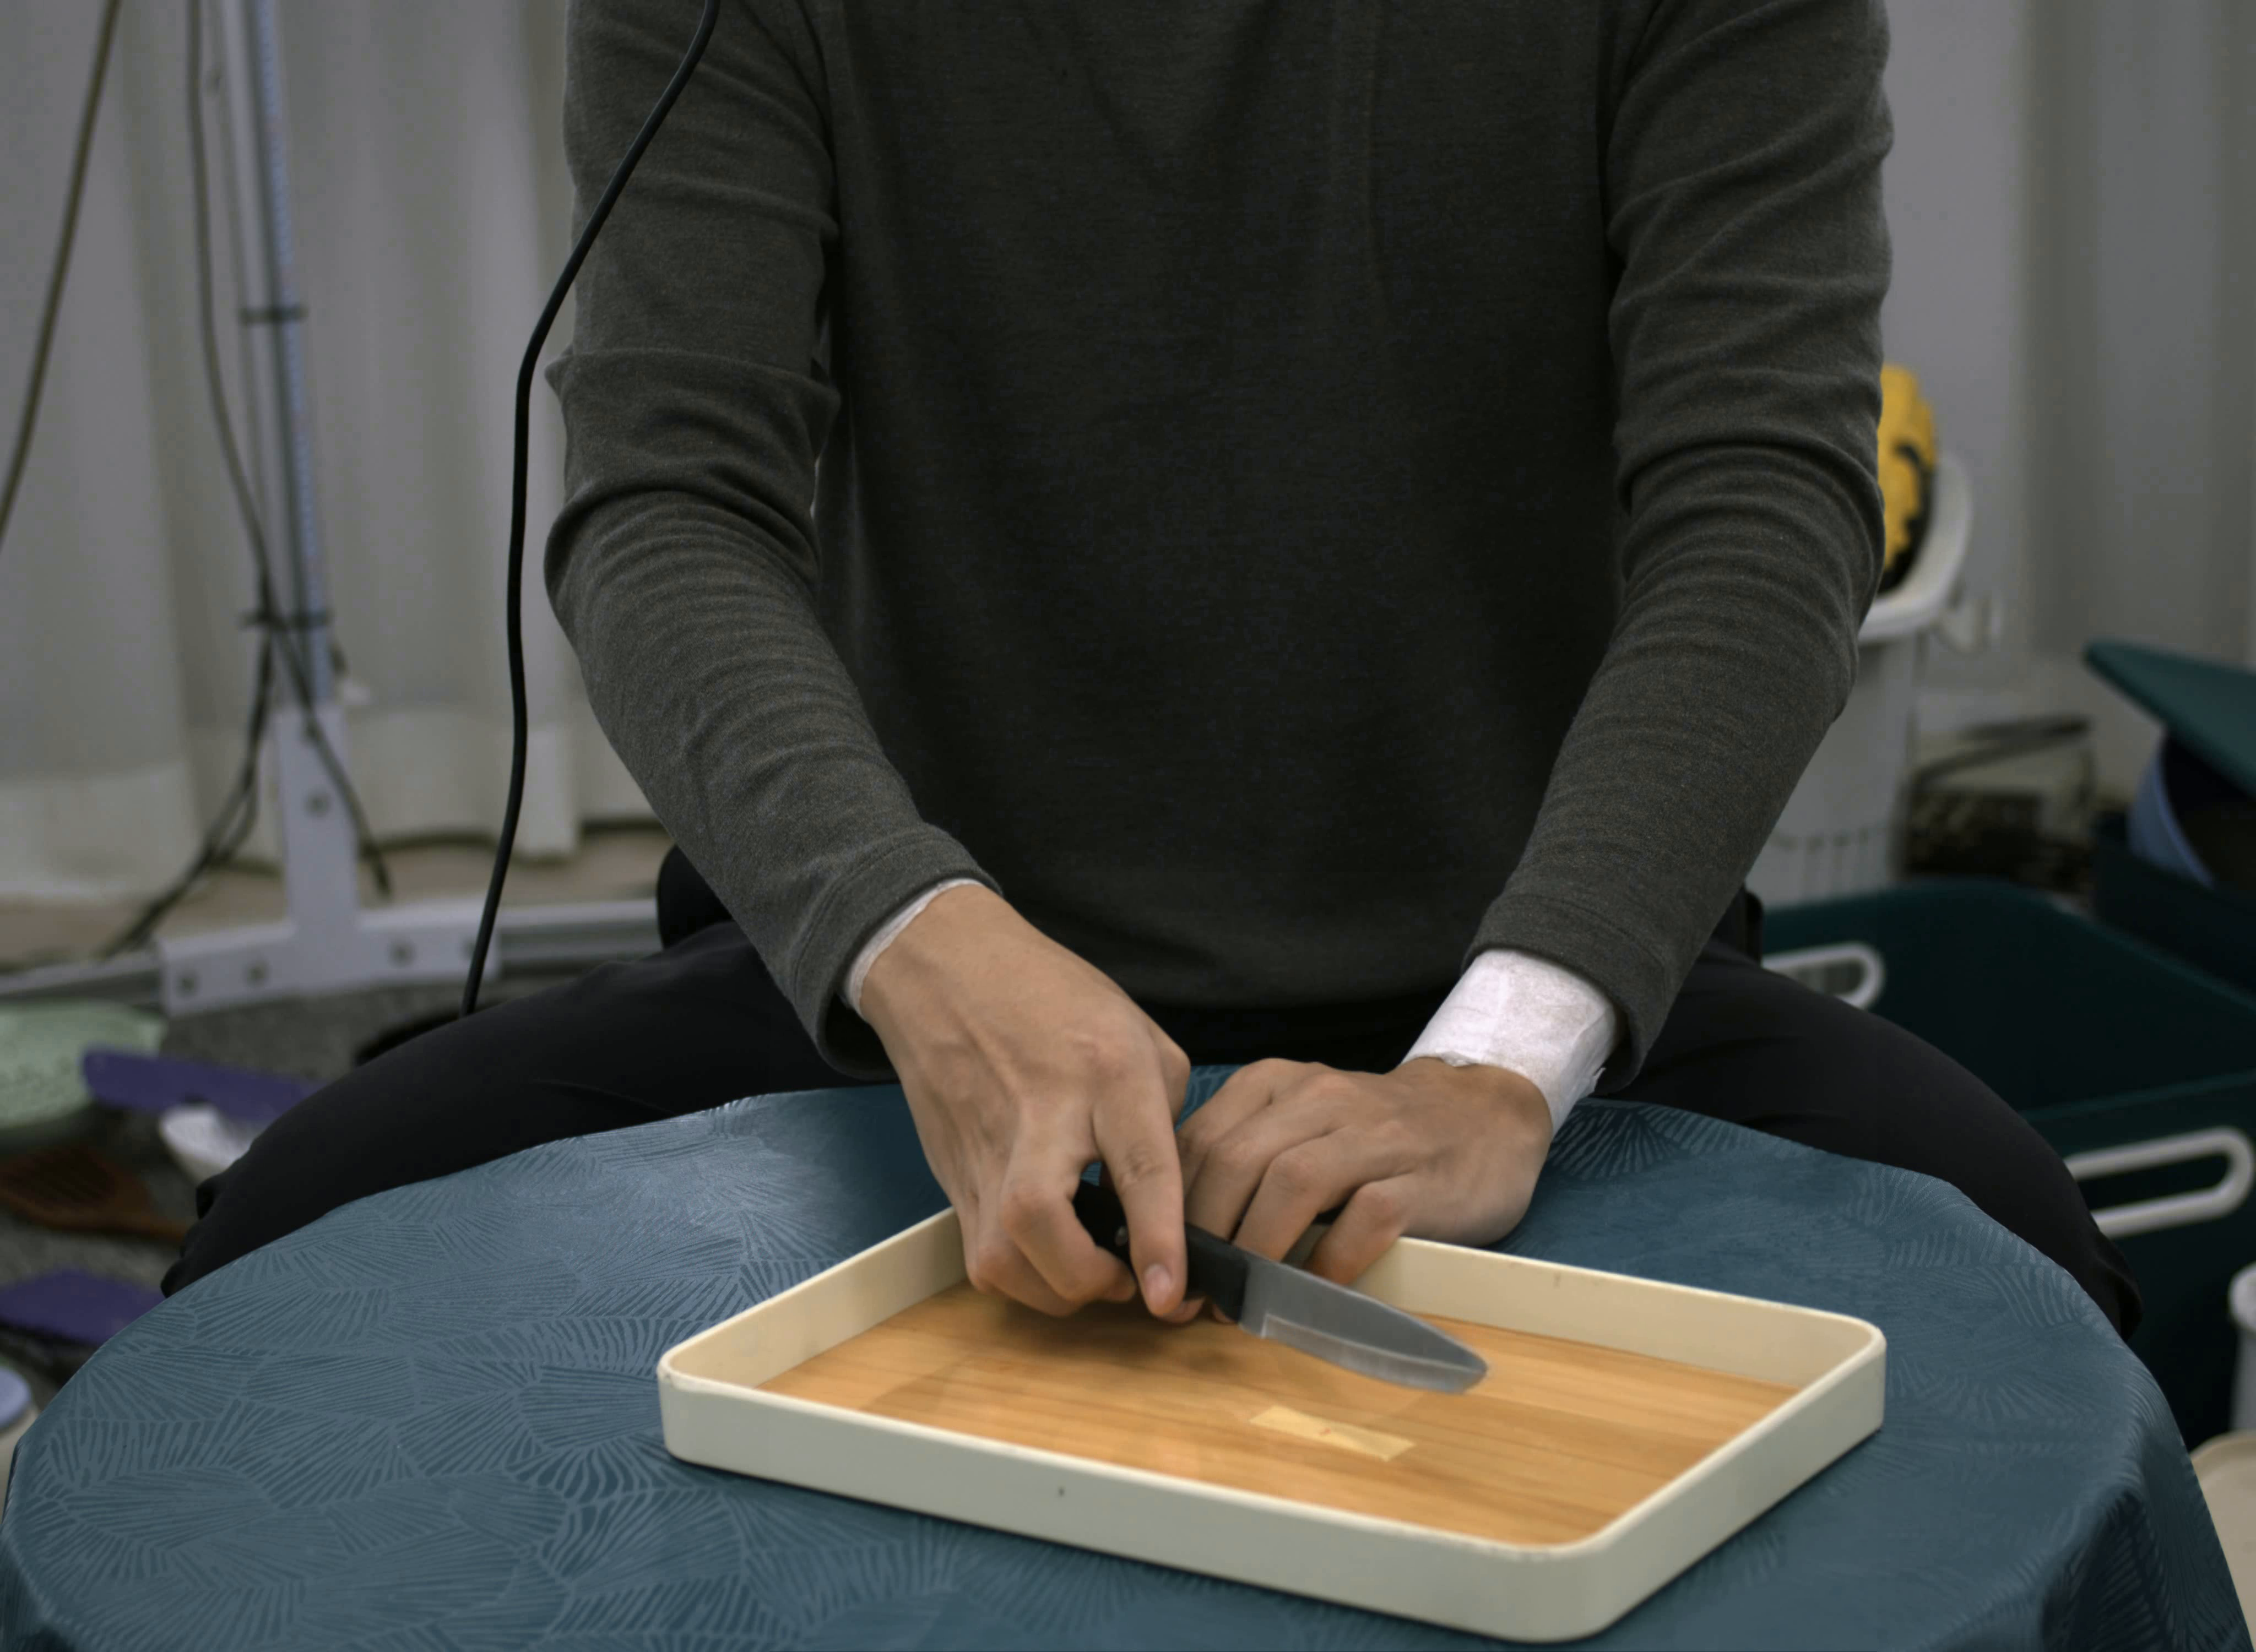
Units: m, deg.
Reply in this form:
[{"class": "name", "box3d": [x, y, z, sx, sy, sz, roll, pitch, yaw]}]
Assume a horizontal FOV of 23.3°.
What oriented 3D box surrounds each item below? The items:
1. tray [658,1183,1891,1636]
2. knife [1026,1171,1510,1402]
[{"class": "tray", "box3d": [0.039, 0.156, 1.504, 0.301, 0.027, 0.191, 8, 17, 34]}, {"class": "knife", "box3d": [0.038, 0.127, 1.519, 0.016, 0.024, 0.239, 14, 1, -33]}]
